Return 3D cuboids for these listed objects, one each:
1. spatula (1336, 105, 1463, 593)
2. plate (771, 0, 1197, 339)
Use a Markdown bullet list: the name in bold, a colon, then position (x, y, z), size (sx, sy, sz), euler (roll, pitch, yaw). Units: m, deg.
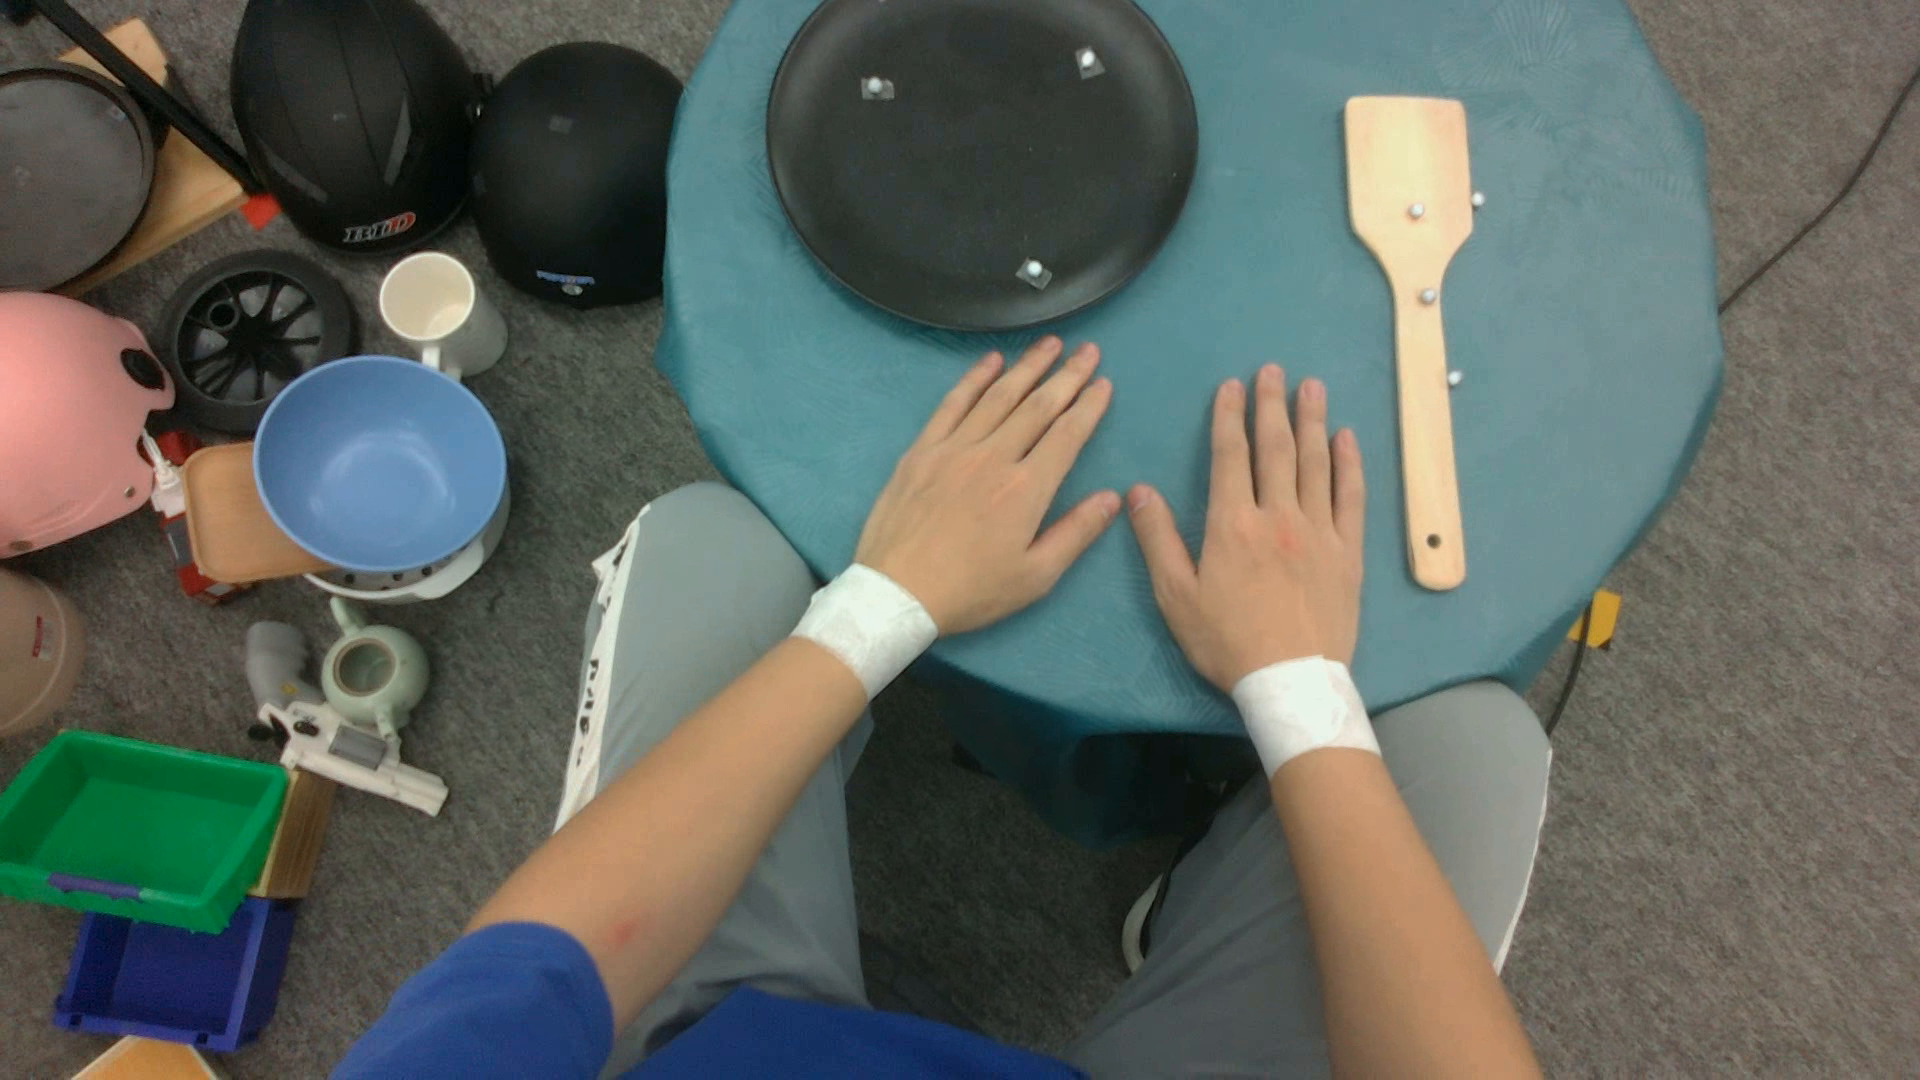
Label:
- **spatula**: position (0.256, -0.113, 0.776), size (0.072, 0.010, 0.293), euler (1, 75, -2)
- **plate**: position (0.014, -0.227, 0.795), size (0.244, 0.023, 0.245), euler (0, 75, -1)
